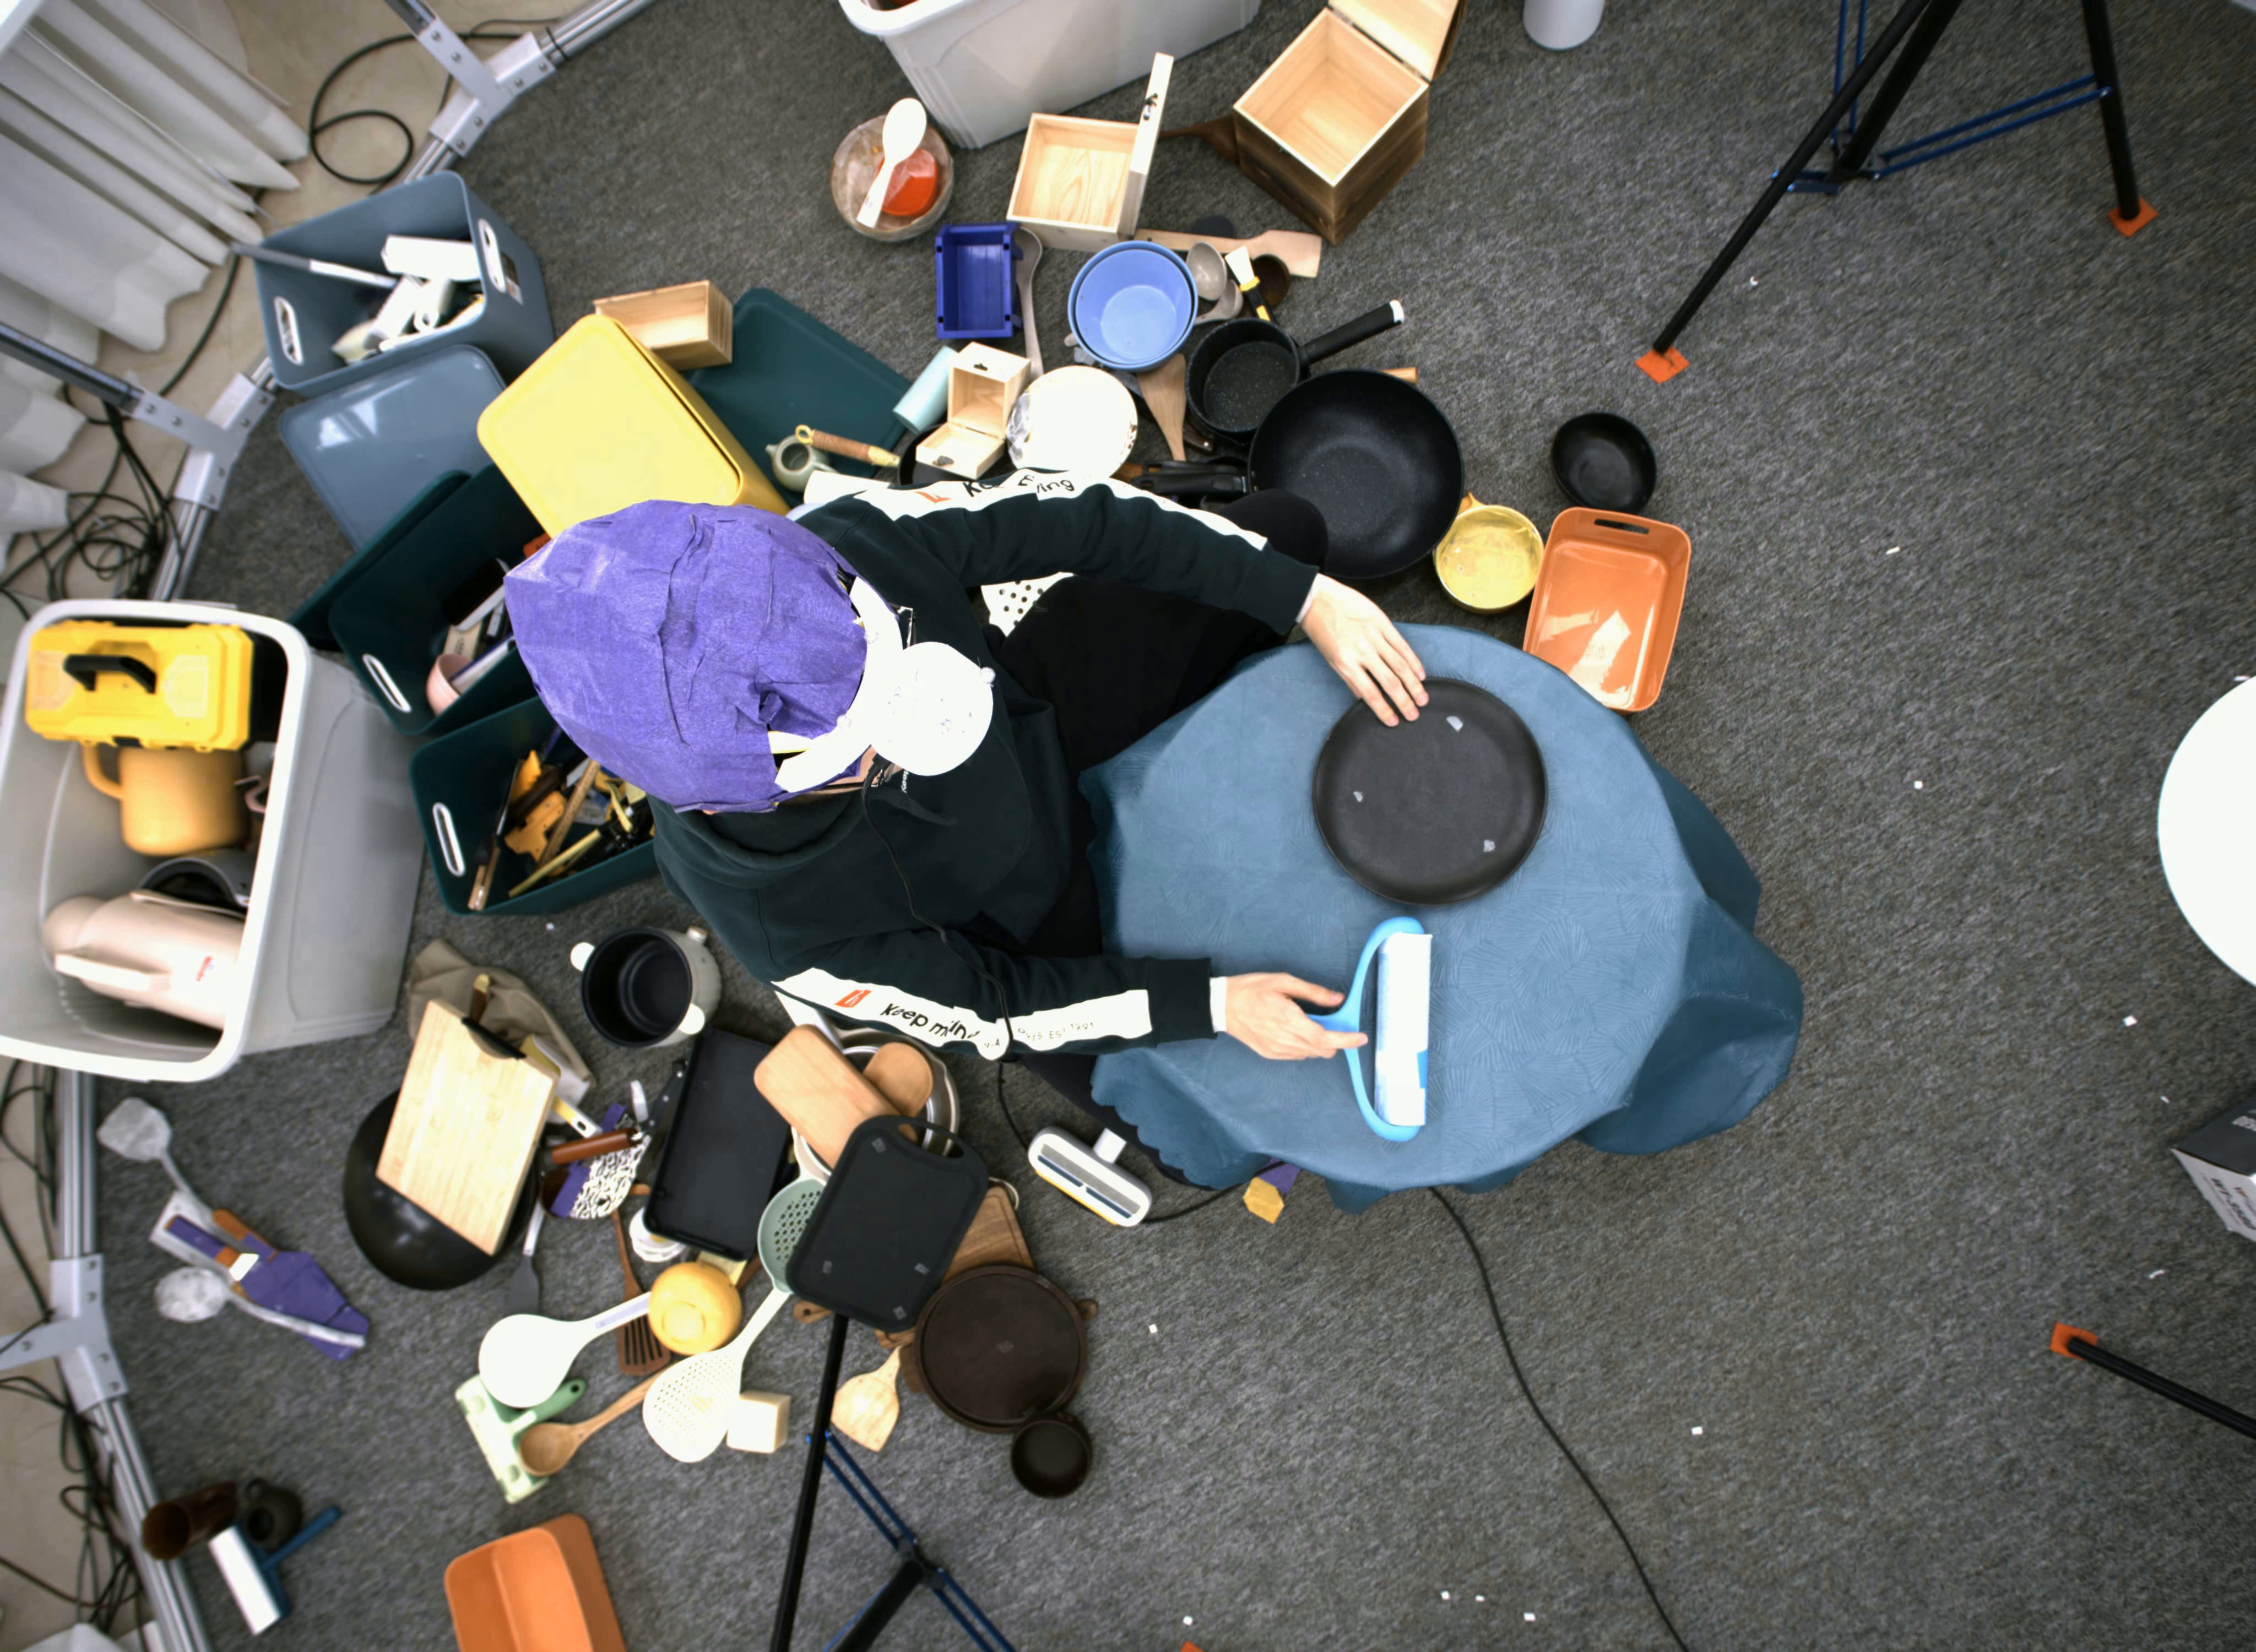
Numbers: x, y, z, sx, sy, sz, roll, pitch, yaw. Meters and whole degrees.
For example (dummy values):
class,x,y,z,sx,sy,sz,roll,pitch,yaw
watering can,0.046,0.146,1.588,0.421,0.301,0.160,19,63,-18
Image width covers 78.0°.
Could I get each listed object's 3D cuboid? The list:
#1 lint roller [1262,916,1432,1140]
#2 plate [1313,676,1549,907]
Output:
class,x,y,z,sx,sy,sz,roll,pitch,yaw
lint roller,0.226,0.207,1.428,0.181,0.068,0.228,-2,87,11
plate,0.316,-0.038,1.441,0.245,0.023,0.243,-1,87,10
